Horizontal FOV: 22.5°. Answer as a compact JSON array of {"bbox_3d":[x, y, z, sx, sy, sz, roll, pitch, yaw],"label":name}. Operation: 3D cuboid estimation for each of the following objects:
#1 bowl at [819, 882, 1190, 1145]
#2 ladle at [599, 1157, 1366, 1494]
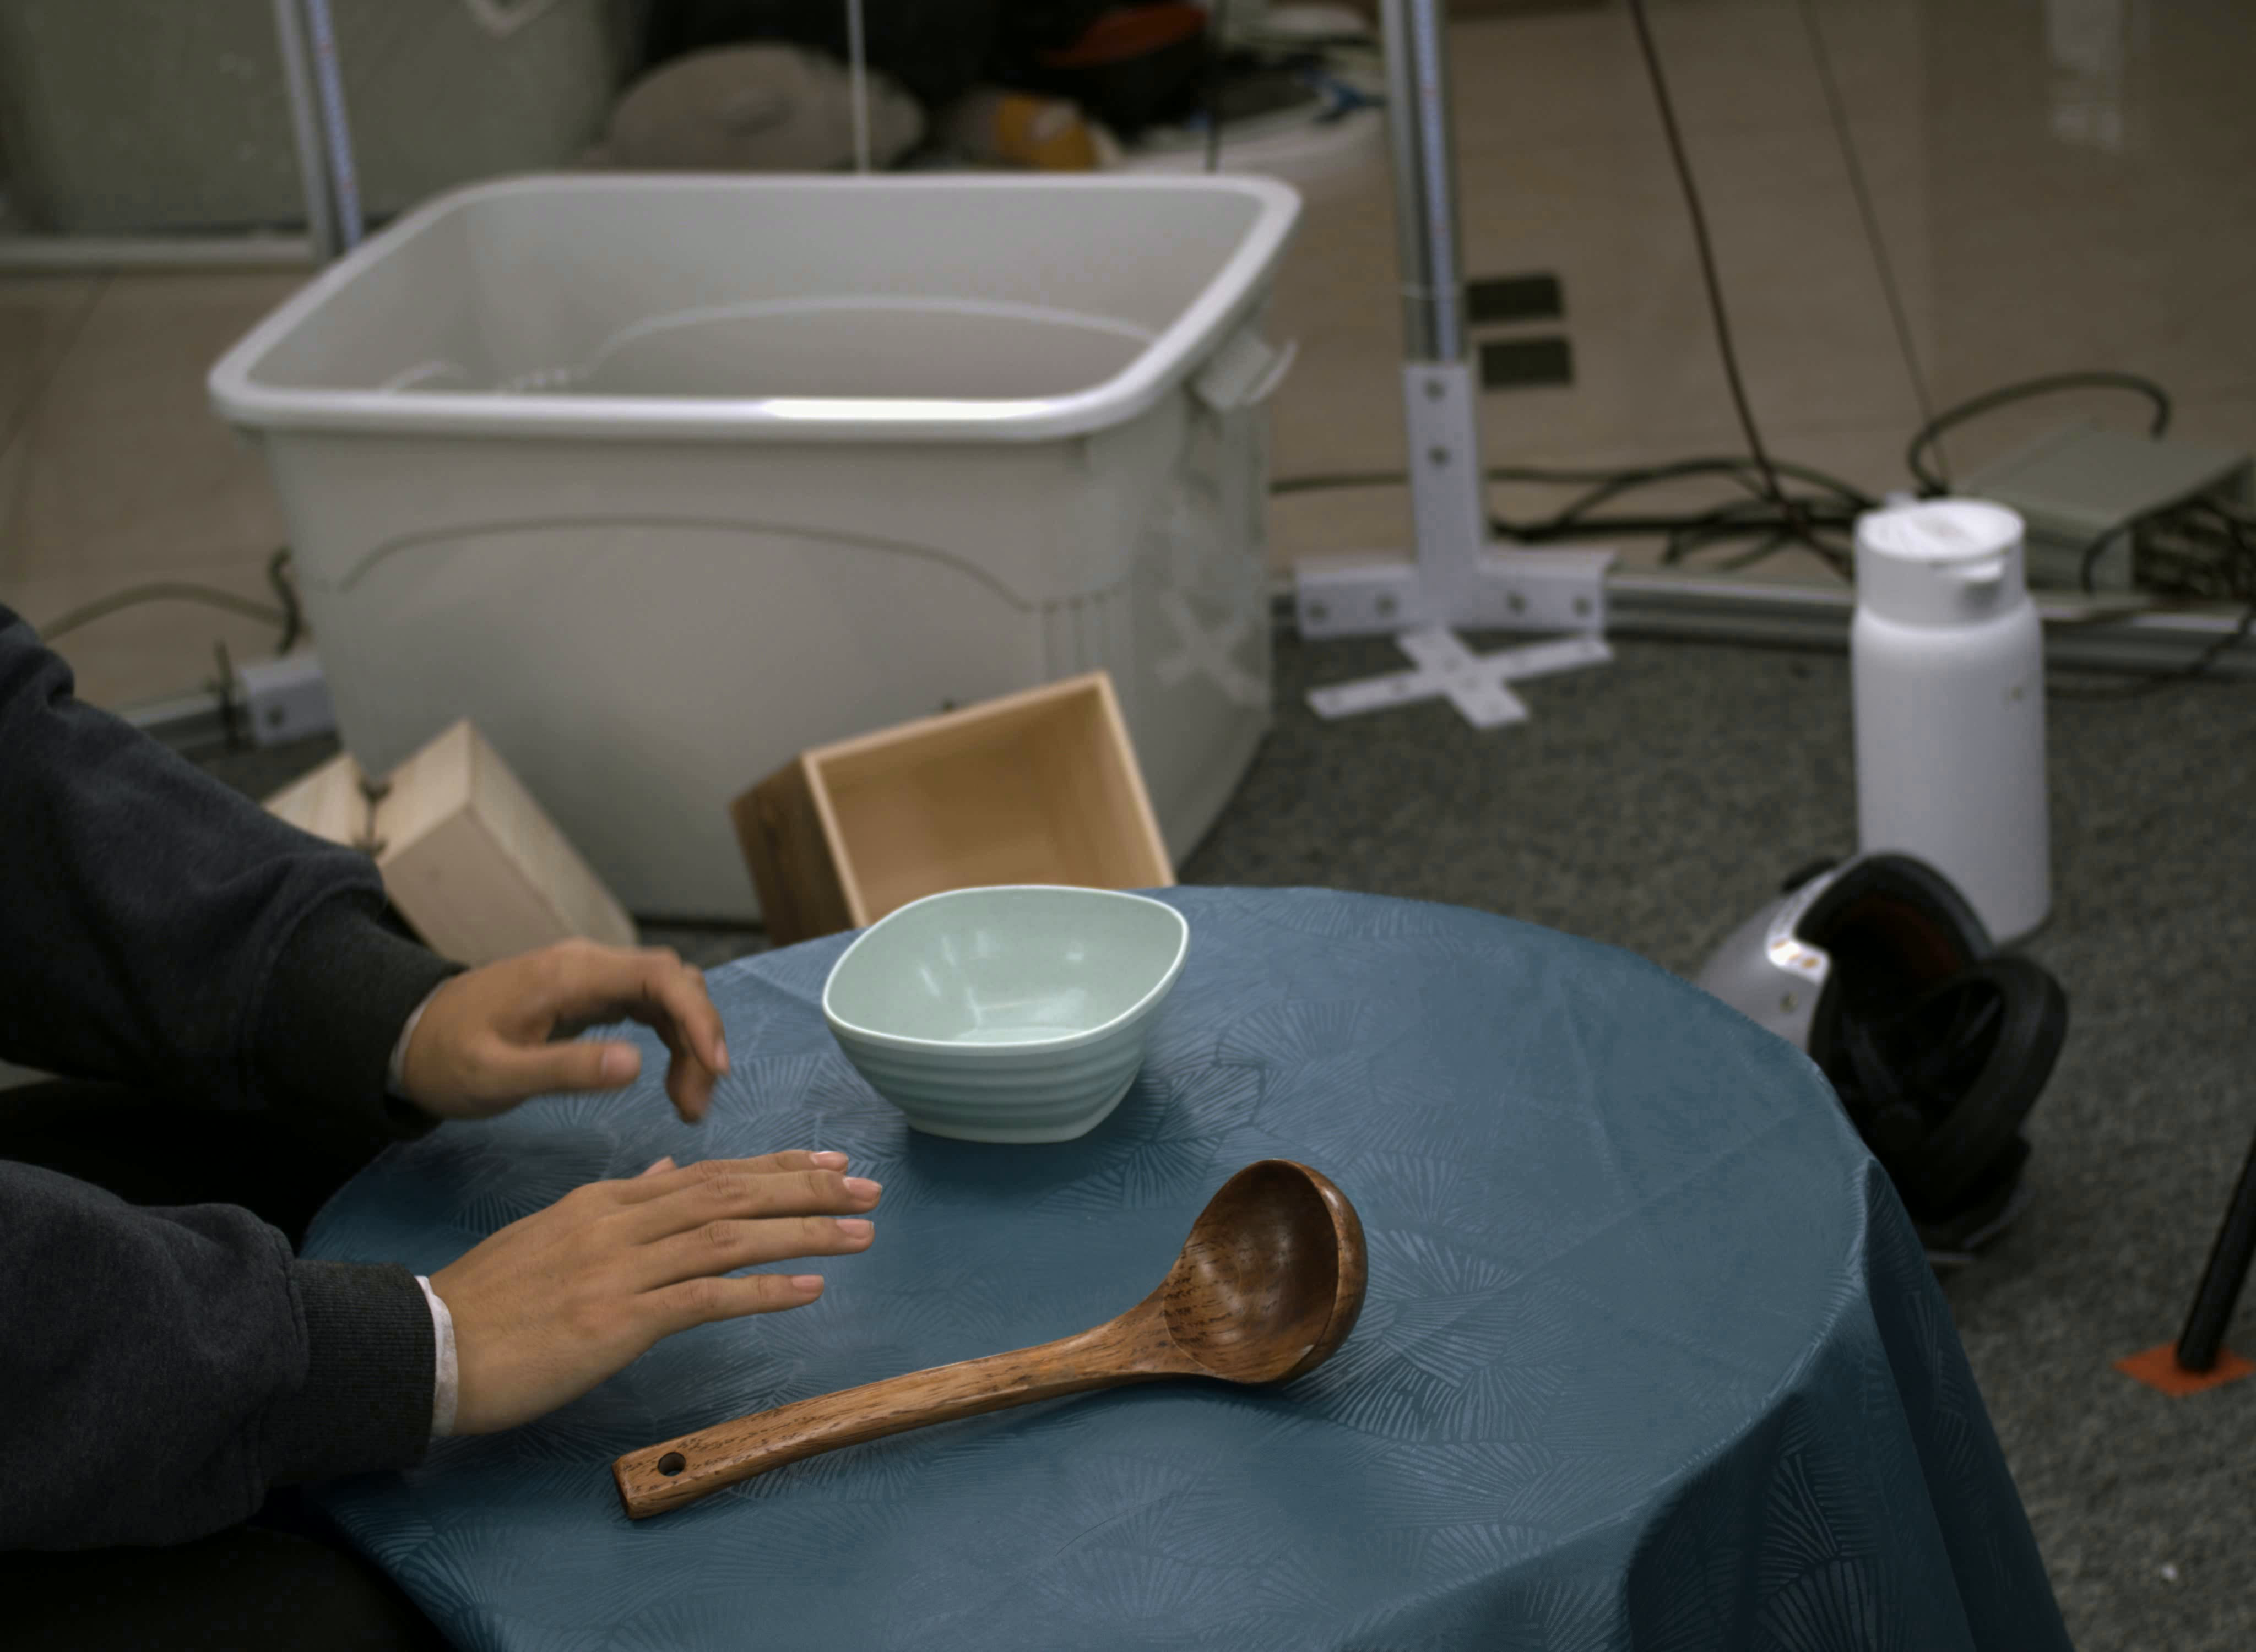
[{"bbox_3d":[-0.046,0.079,2.218,0.151,0.059,0.149,-3,26,2],"label":"bowl"},{"bbox_3d":[-0.050,0.180,1.980,0.273,0.078,0.080,-11,52,-13],"label":"ladle"}]
